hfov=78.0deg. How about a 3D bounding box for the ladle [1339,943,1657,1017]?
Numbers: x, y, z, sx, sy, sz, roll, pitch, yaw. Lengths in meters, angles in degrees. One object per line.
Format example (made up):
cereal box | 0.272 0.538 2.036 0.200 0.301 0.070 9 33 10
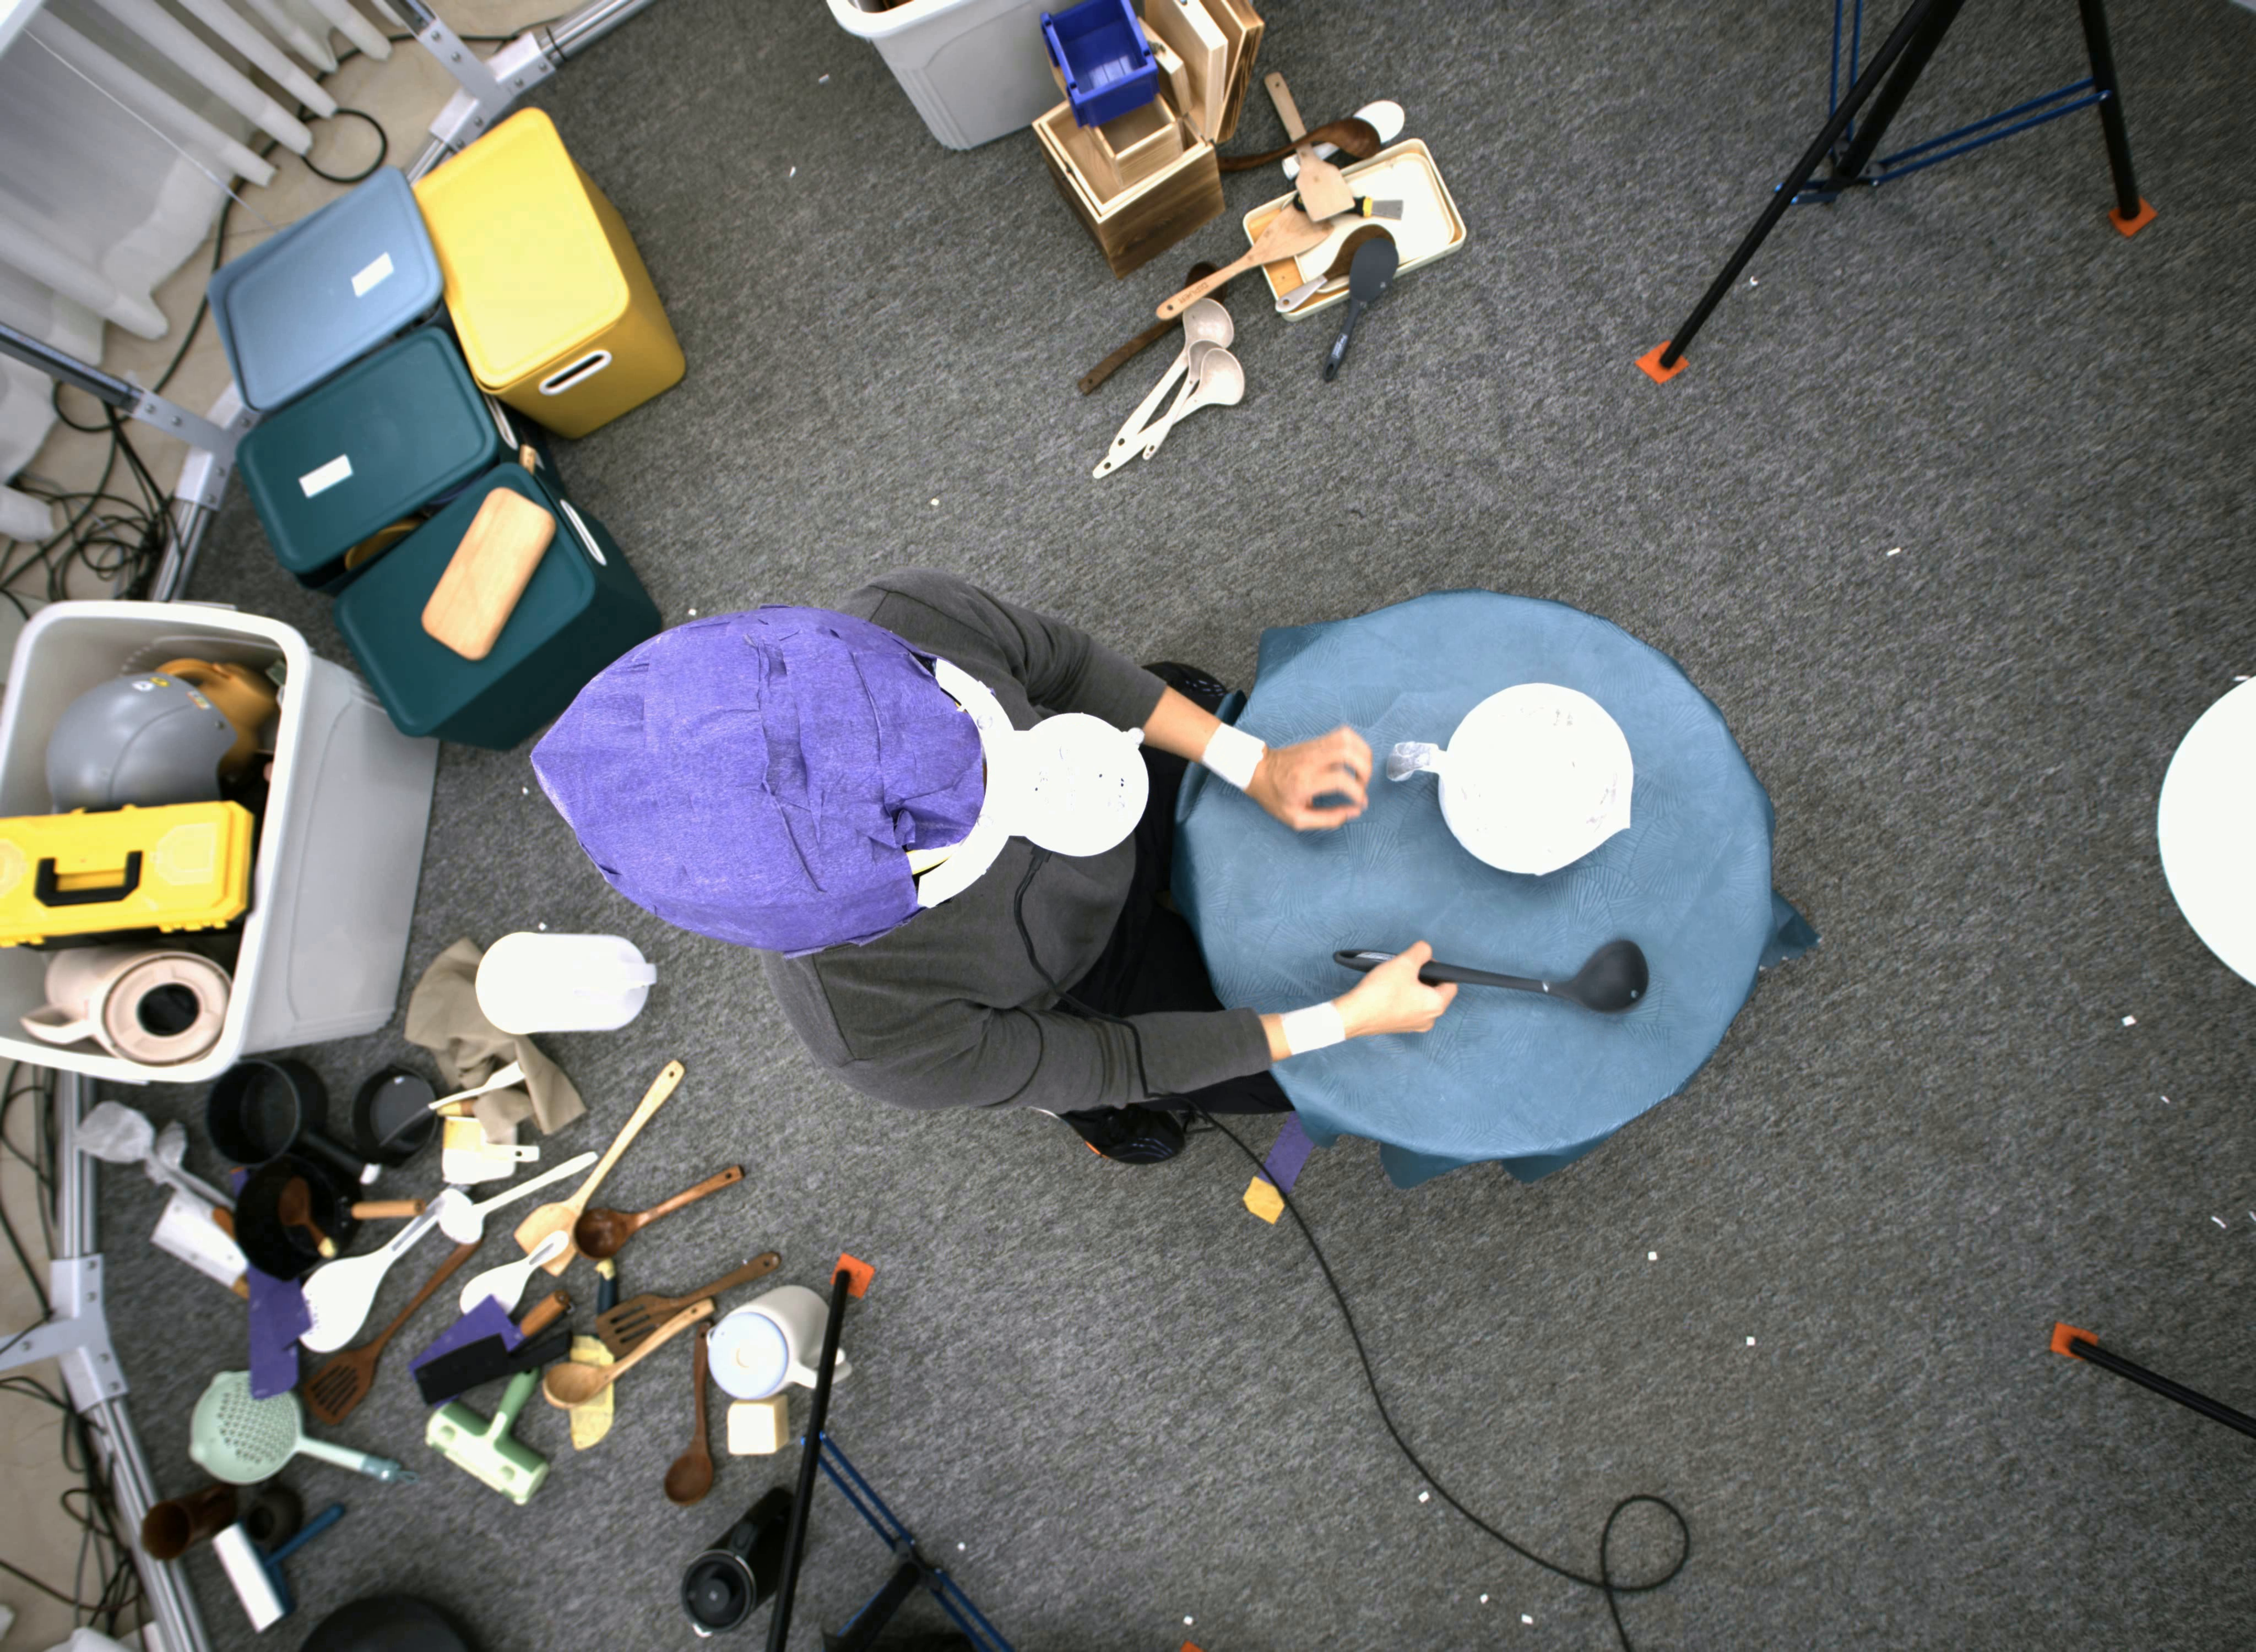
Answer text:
ladle | 0.370 0.137 1.377 0.314 0.084 0.065 9 130 -2

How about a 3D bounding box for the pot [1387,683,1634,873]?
pot | 0.376 -0.050 1.378 0.234 0.137 0.178 10 88 11
